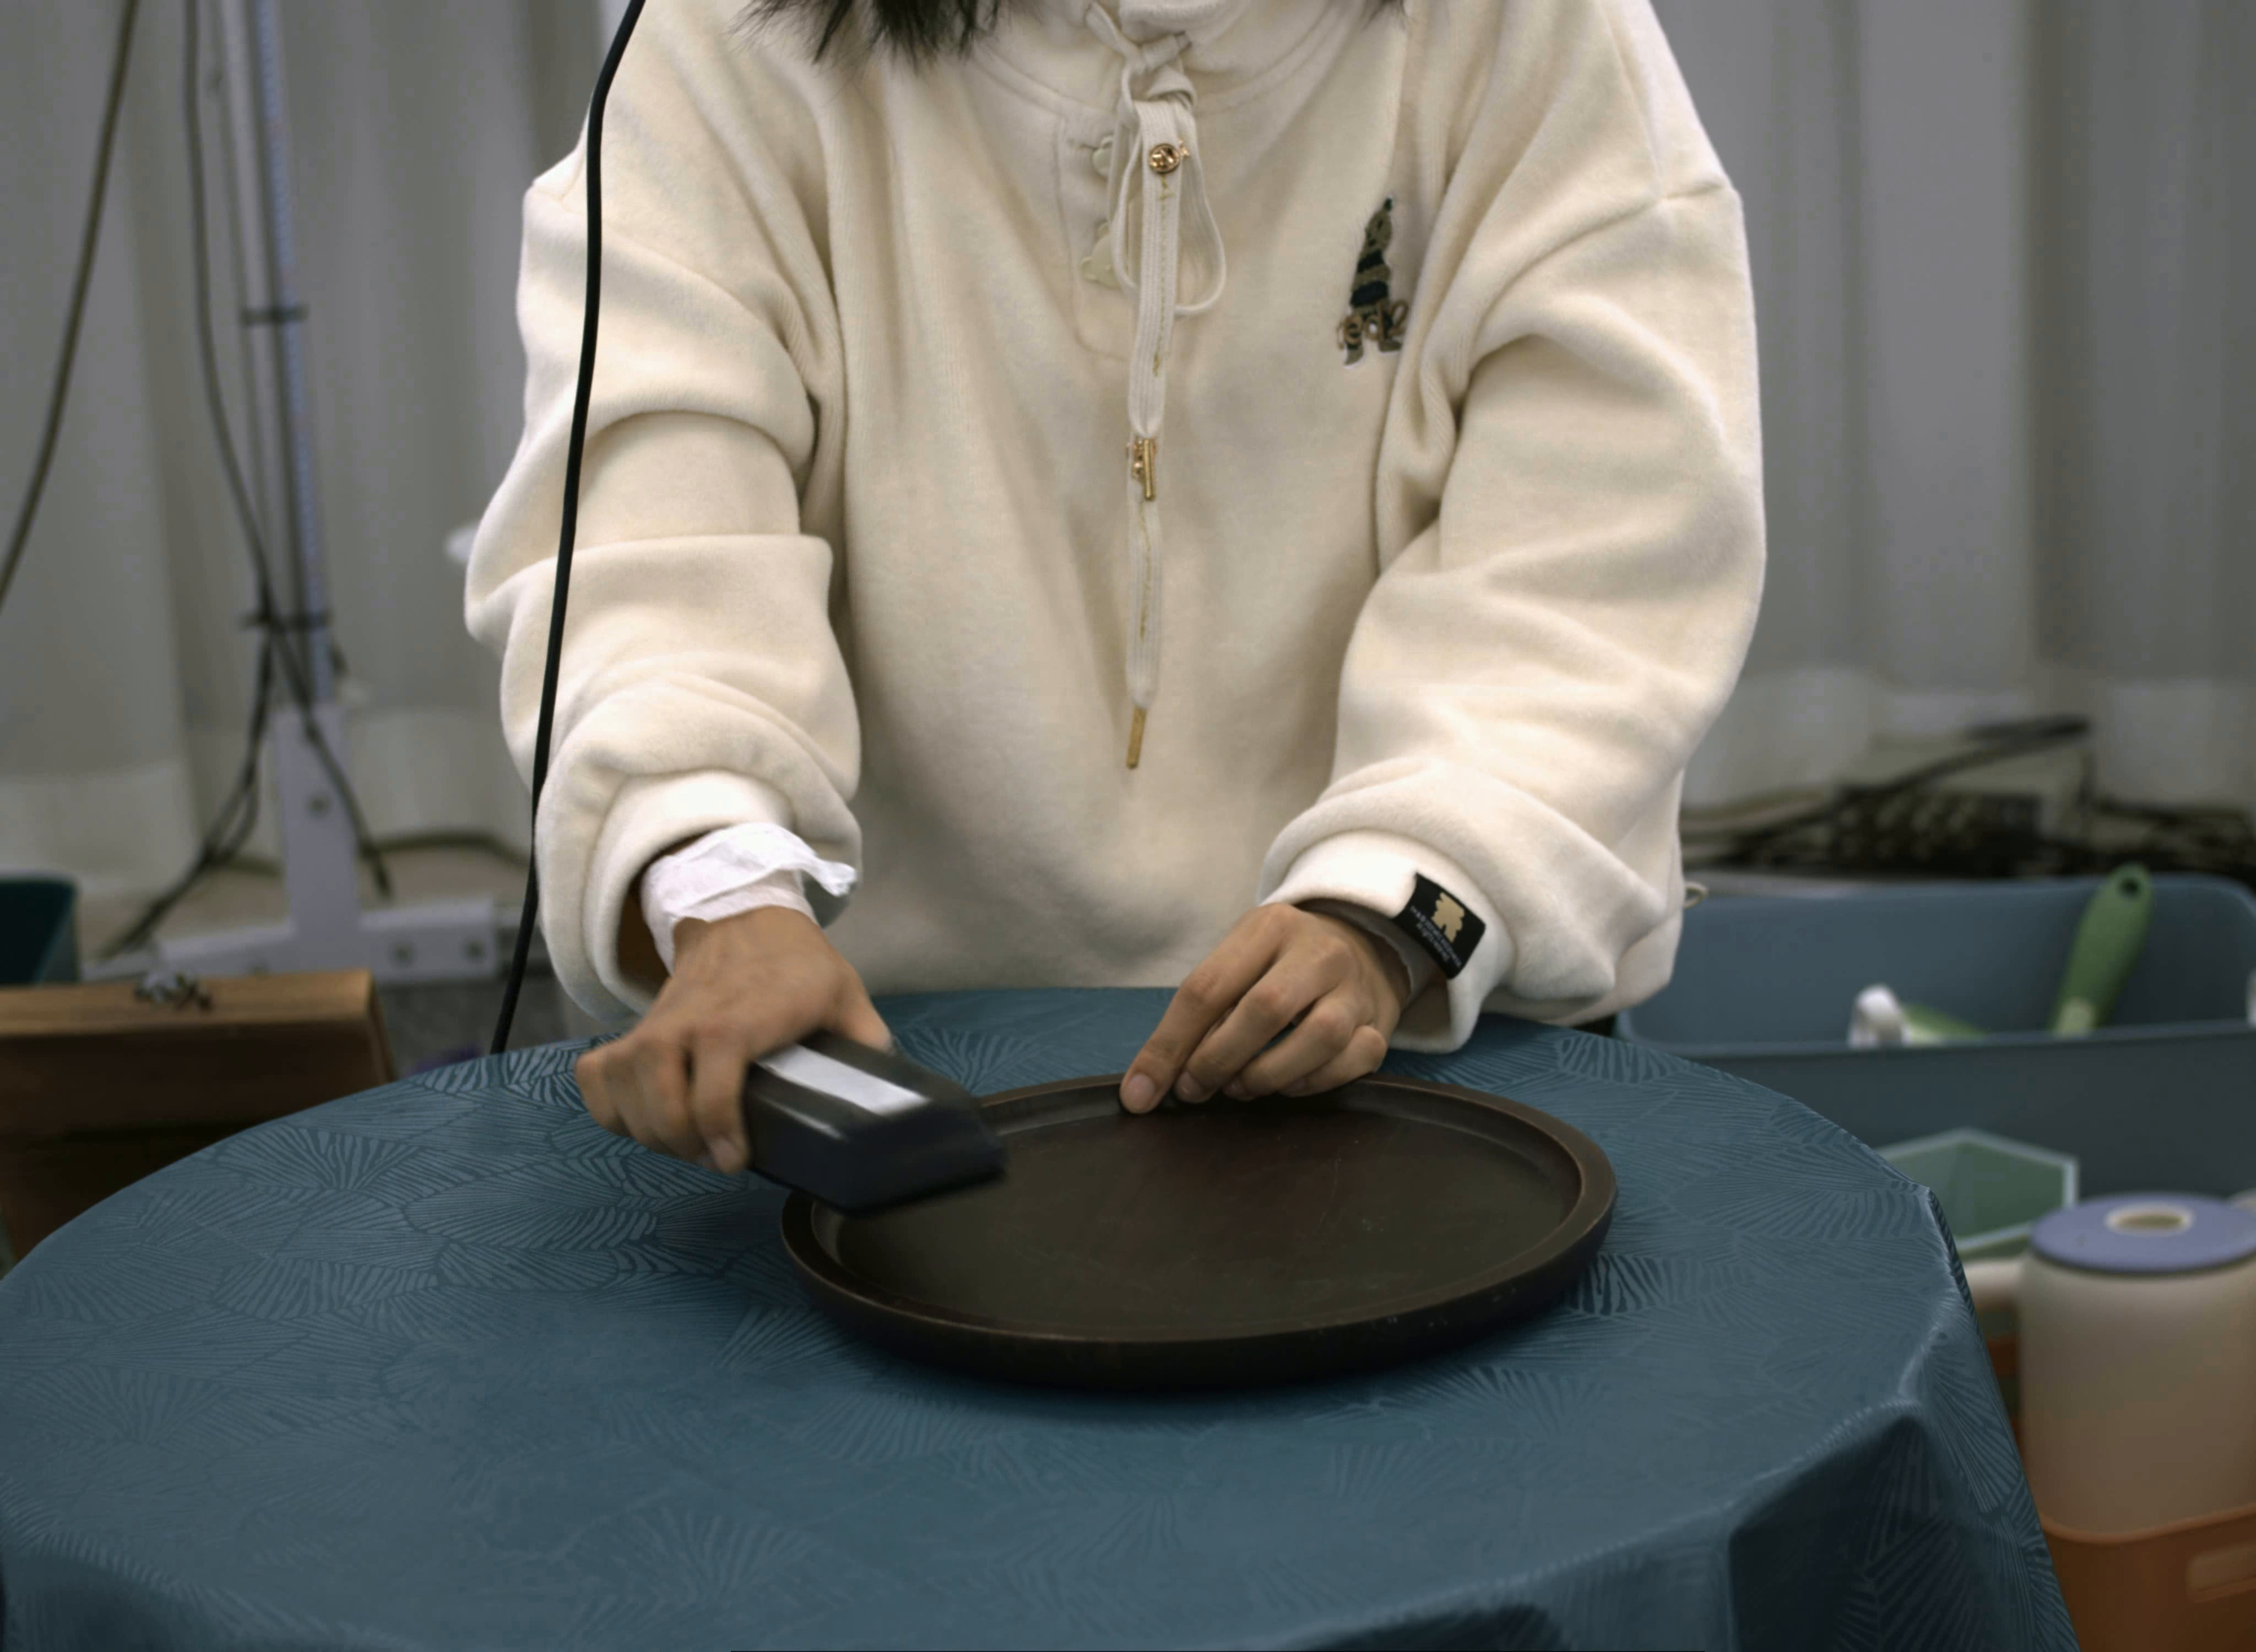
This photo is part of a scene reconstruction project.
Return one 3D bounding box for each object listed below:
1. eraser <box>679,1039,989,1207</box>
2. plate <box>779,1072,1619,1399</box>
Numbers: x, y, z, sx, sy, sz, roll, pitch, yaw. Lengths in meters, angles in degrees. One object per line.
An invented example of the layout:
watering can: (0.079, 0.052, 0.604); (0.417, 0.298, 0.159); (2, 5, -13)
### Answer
eraser: (-0.088, 0.088, 1.638); (0.053, 0.030, 0.126); (-12, 9, -23)
plate: (0.022, 0.120, 1.644); (0.254, 0.029, 0.256); (-3, 16, 1)
